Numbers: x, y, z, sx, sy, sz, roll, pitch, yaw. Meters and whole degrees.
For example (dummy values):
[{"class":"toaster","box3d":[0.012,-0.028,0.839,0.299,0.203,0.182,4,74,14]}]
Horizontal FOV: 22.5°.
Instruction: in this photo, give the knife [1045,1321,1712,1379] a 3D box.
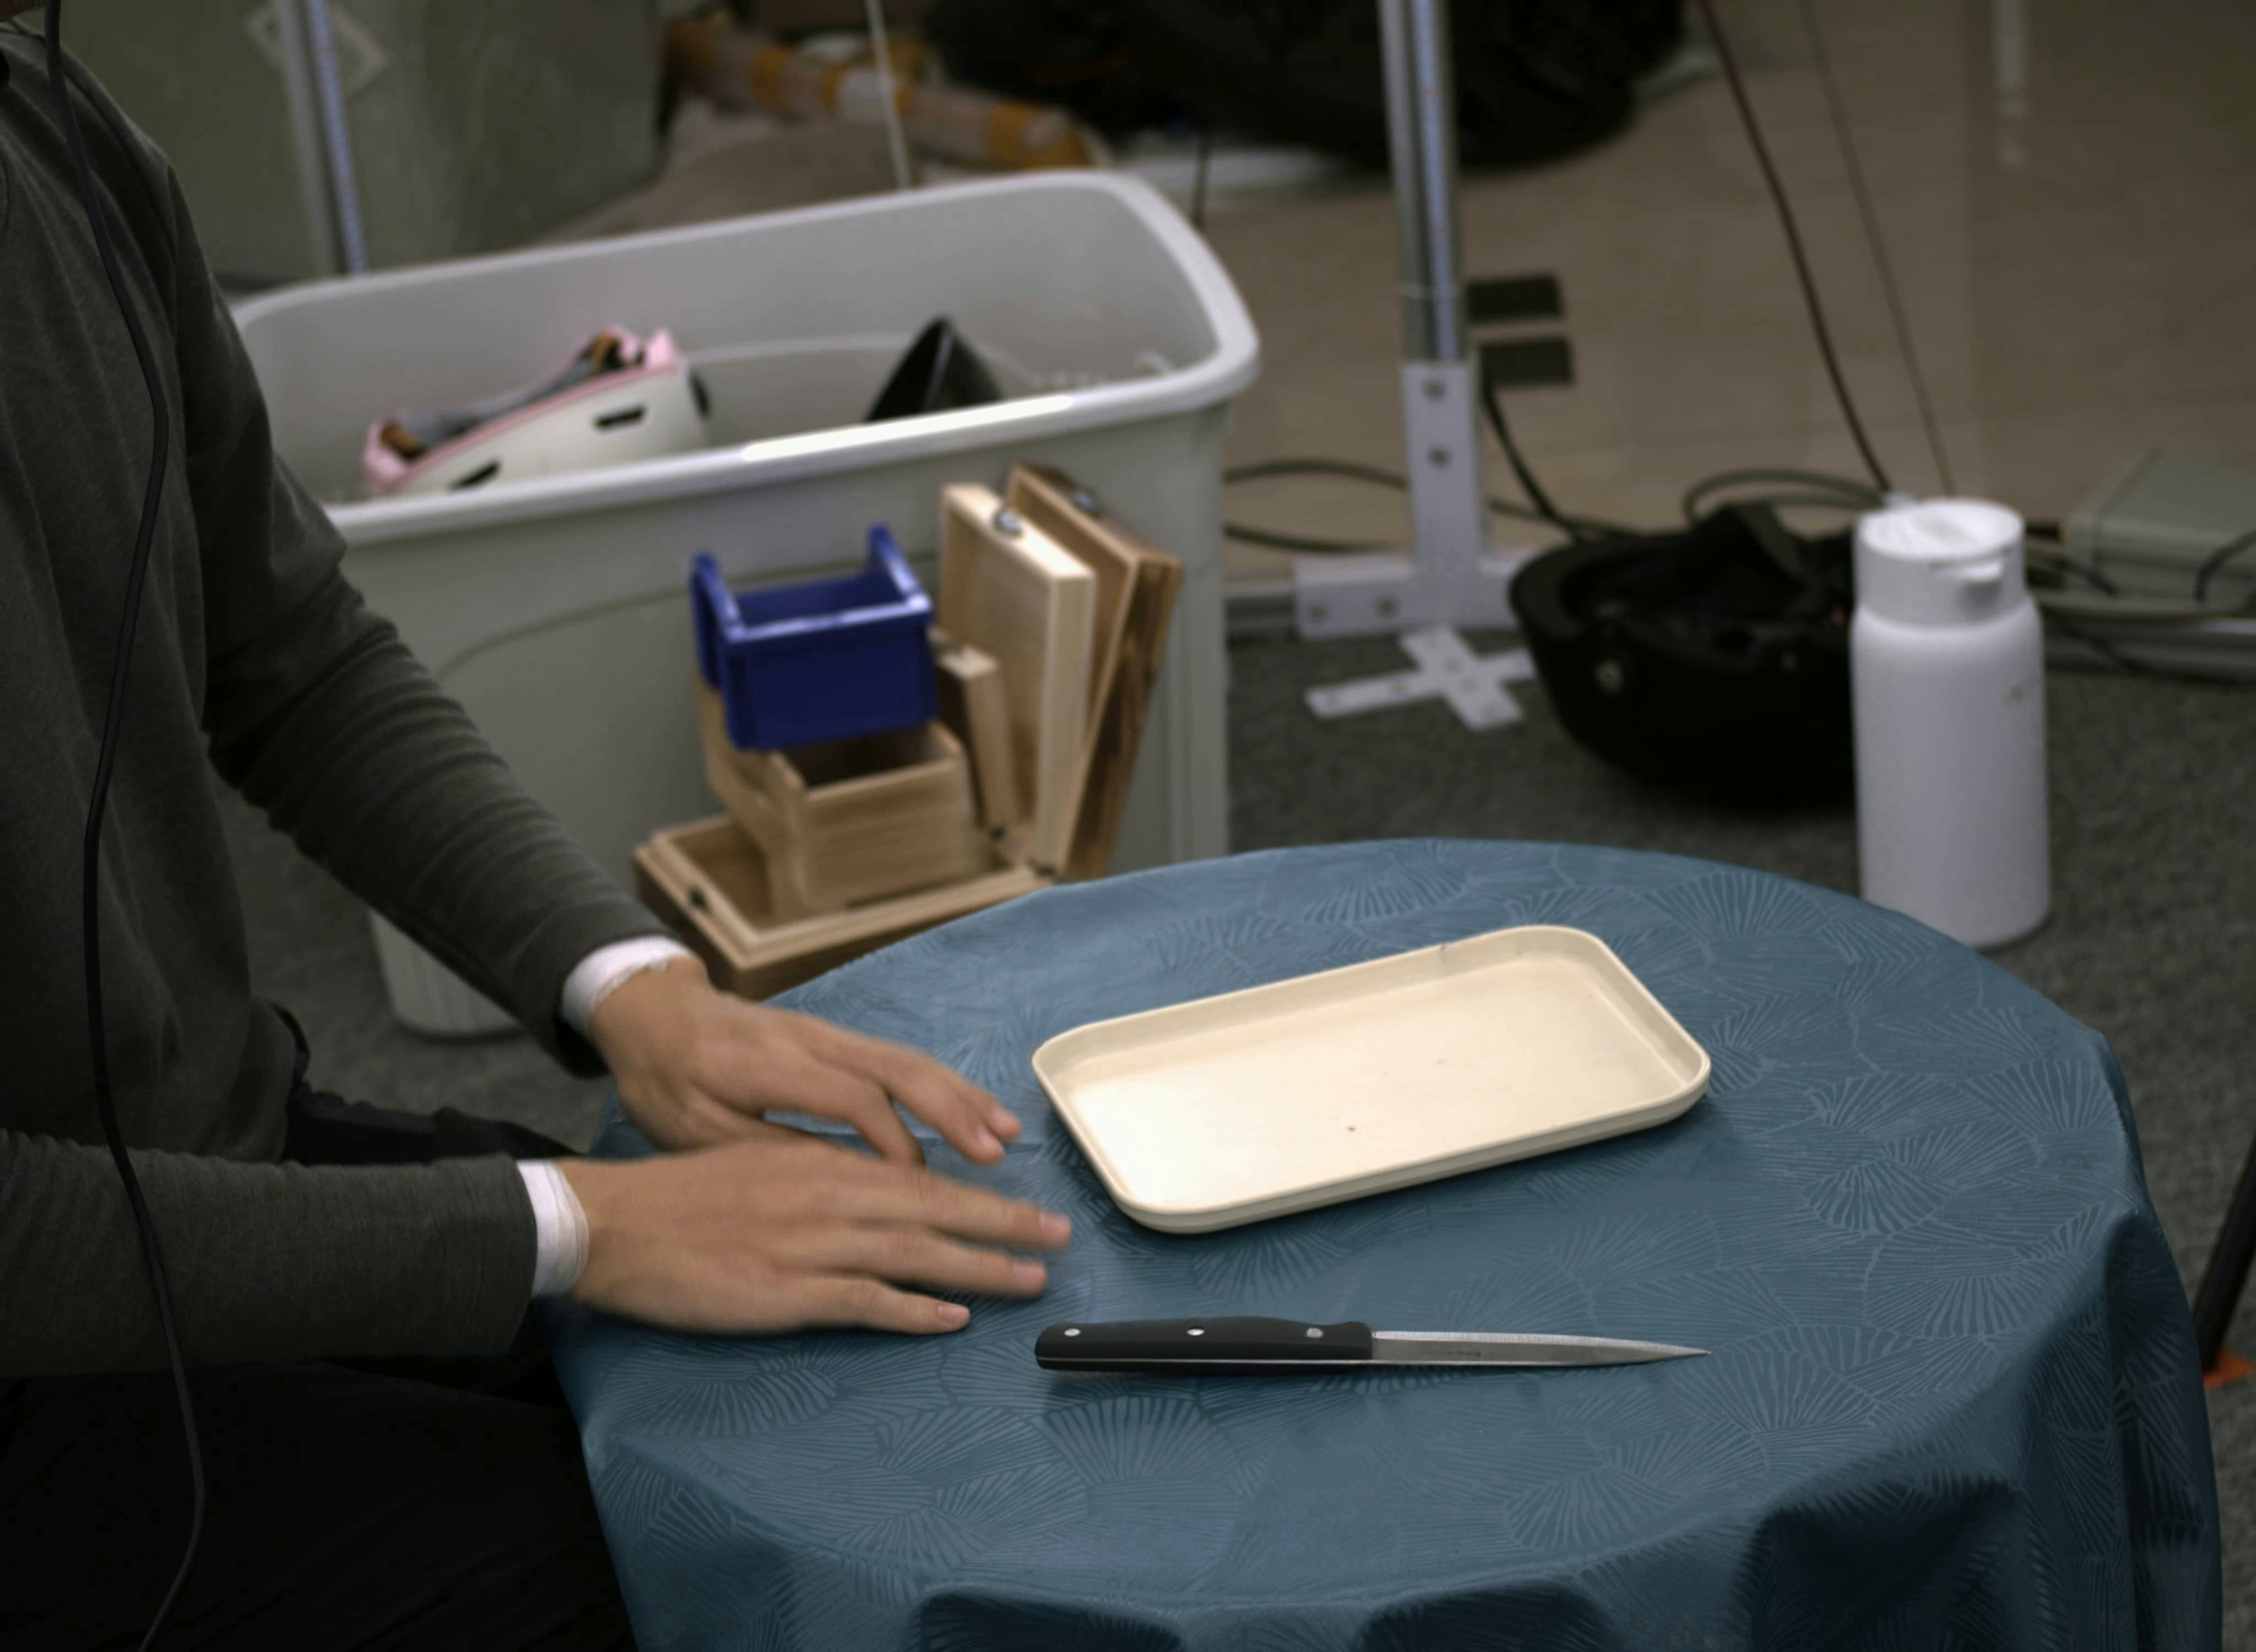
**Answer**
[{"class":"knife","box3d":[0.088,0.186,2.015,0.238,0.016,0.024,-1,28,6]}]

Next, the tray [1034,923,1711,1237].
[{"class":"tray","box3d":[0.093,0.098,2.196,0.239,0.018,0.169,-12,26,-12]}]
